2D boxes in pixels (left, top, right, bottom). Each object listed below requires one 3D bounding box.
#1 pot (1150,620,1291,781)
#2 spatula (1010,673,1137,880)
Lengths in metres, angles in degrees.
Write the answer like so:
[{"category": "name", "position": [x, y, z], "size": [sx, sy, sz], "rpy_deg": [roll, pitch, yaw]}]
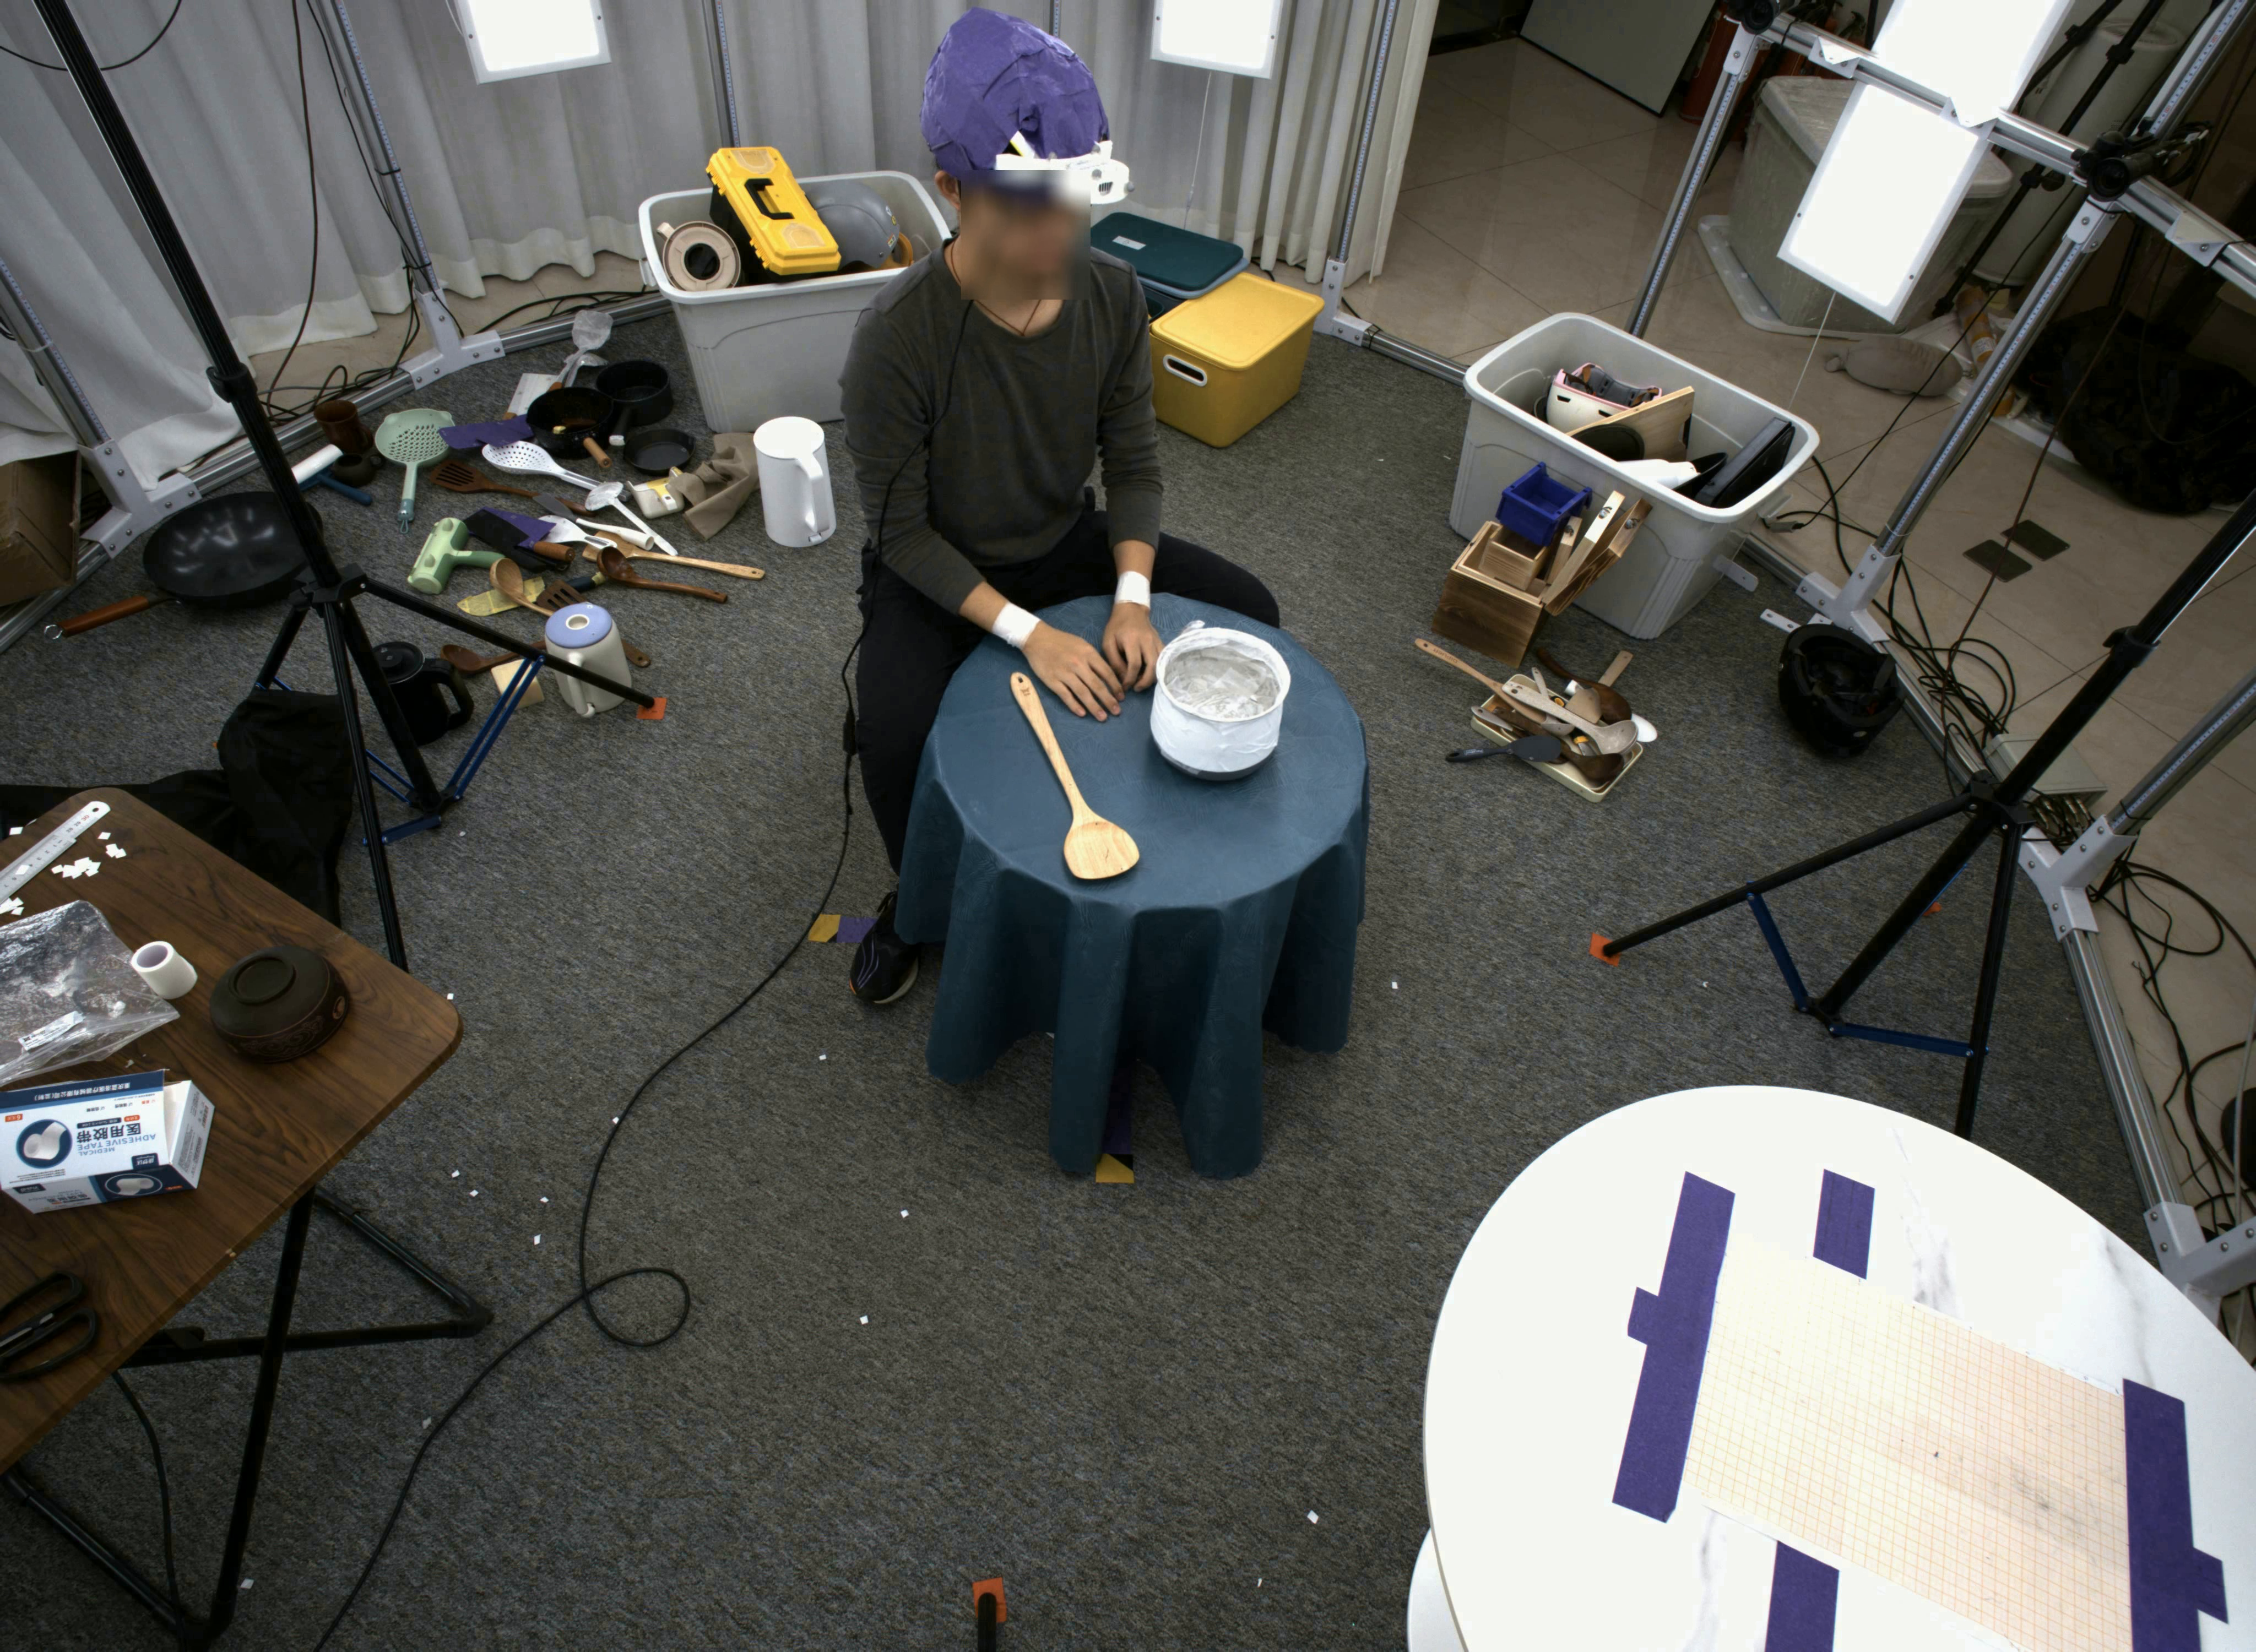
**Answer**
[{"category": "pot", "position": [0.112, -0.181, 1.743], "size": [0.178, 0.133, 0.239], "rpy_deg": [-12, 51, -14]}, {"category": "spatula", "position": [-0.094, -0.075, 1.715], "size": [0.096, 0.018, 0.400], "rpy_deg": [-13, 51, -17]}]
